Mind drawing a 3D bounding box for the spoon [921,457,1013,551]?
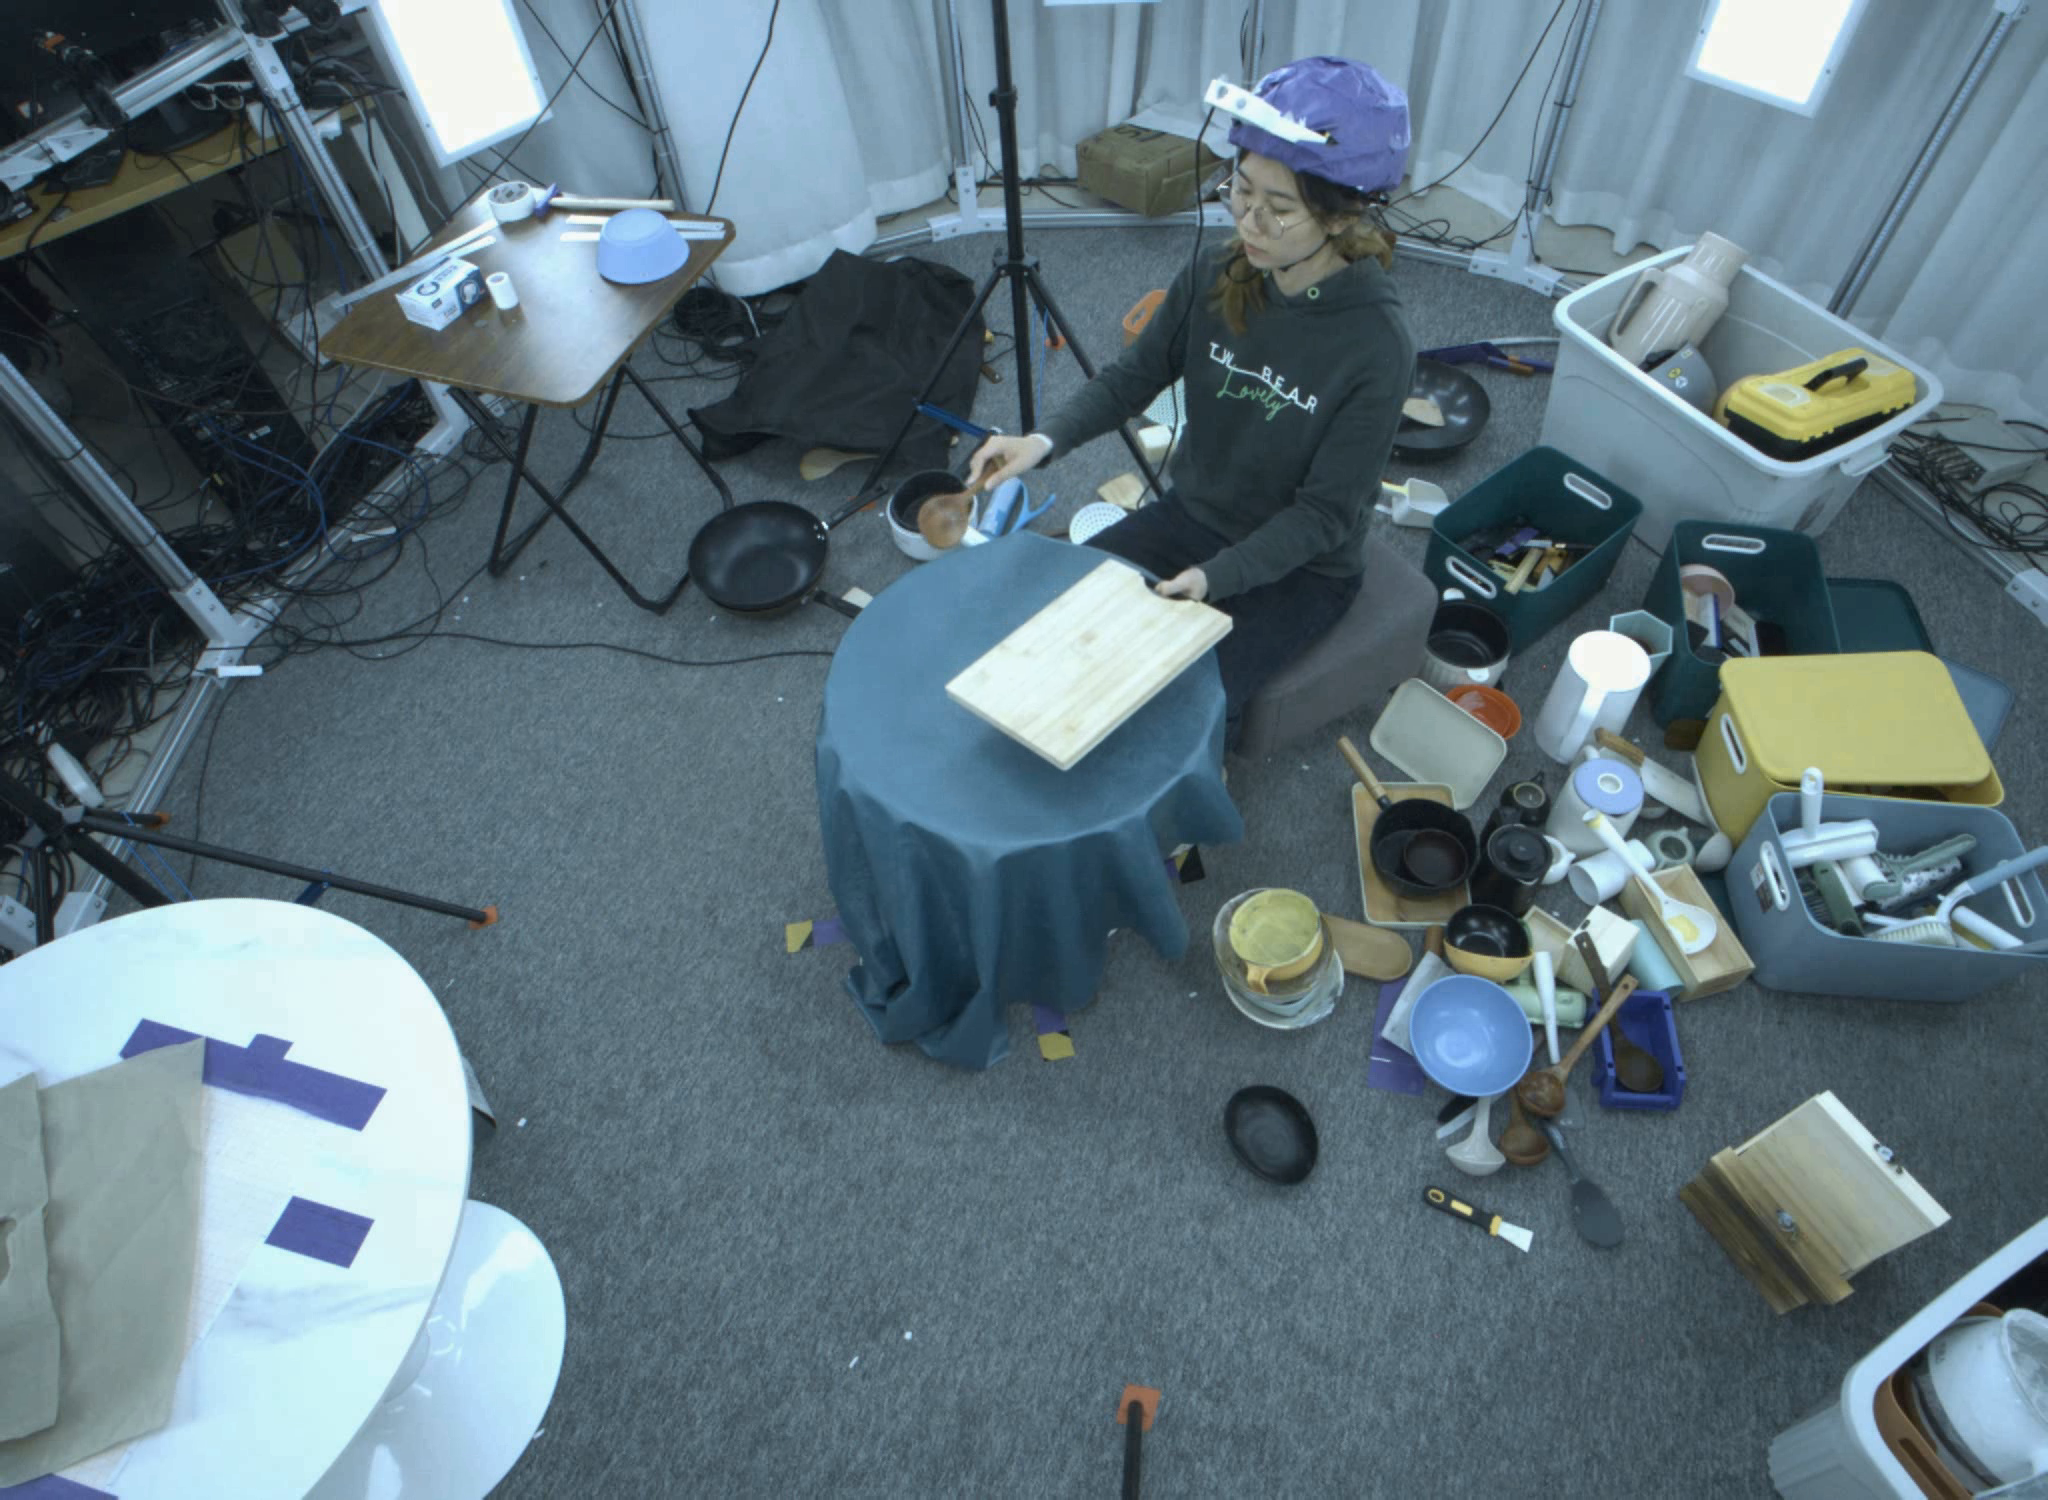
[{"bbox_3d":[-0.080,-0.367,1.796,0.076,0.017,0.216,44,59,-11],"label":"spoon"}]

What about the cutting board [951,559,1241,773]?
[{"bbox_3d":[0.099,-0.129,1.733,0.245,0.024,0.351,33,62,33],"label":"cutting board"}]
